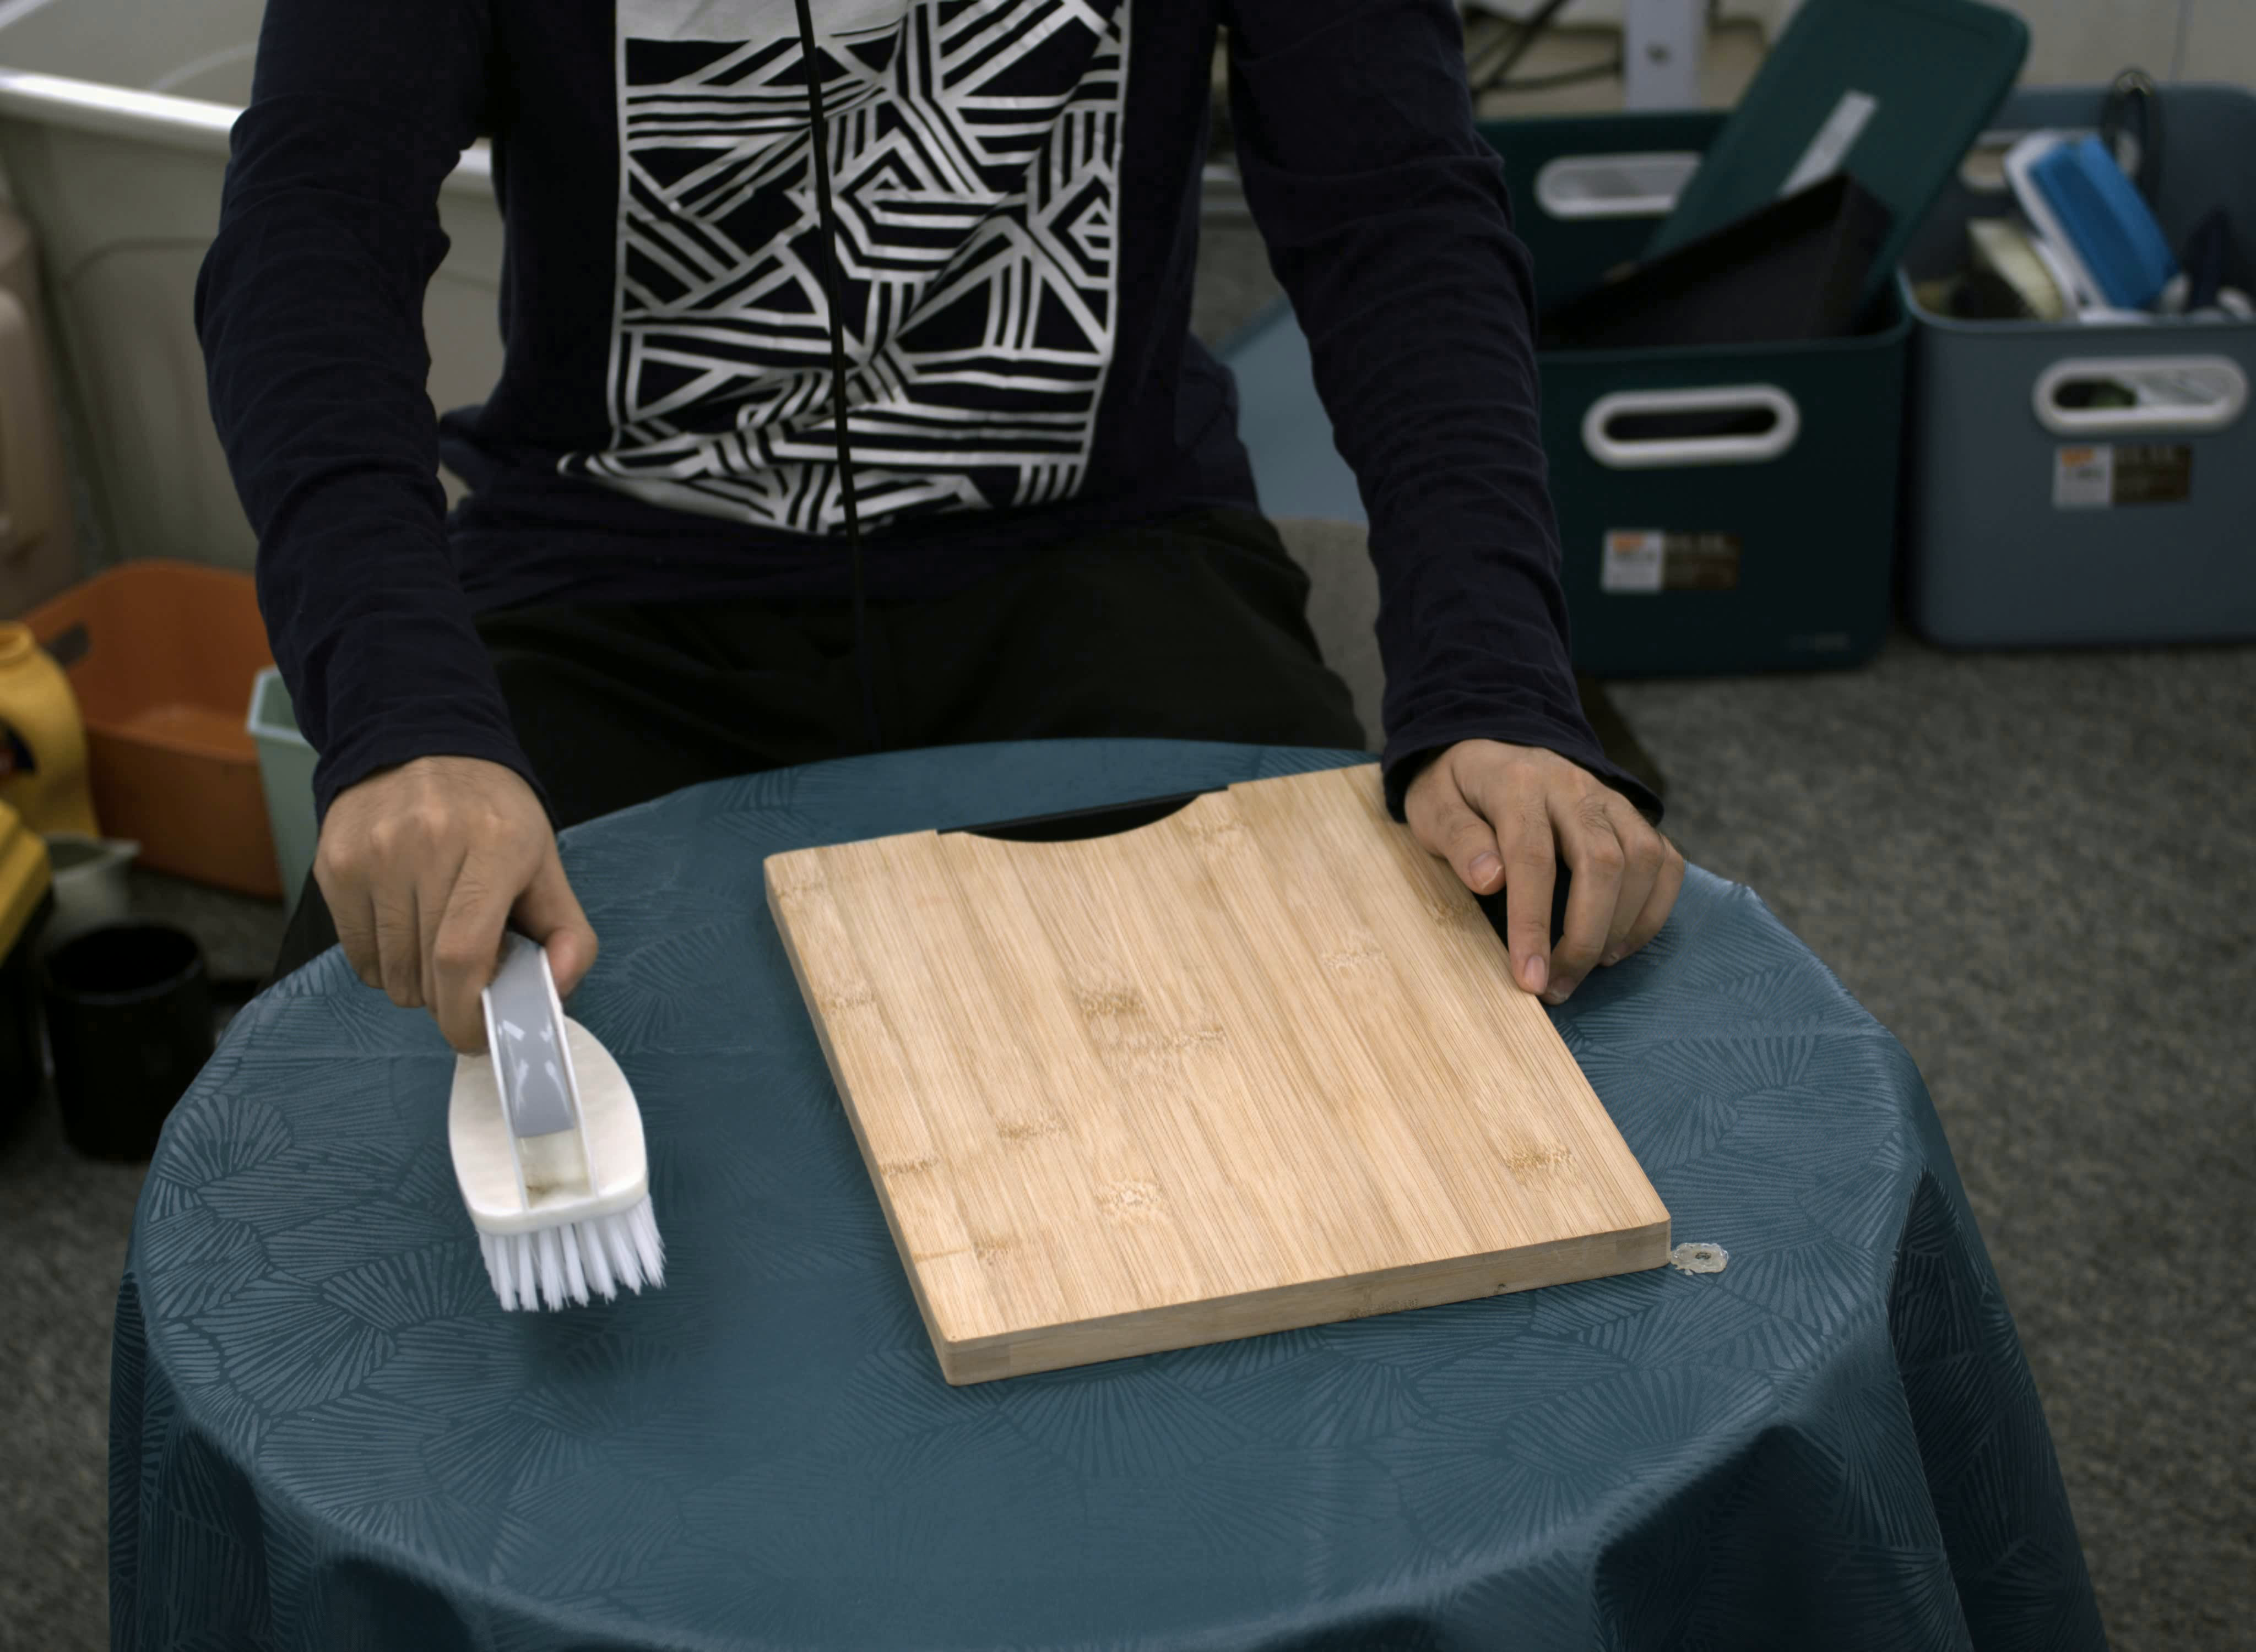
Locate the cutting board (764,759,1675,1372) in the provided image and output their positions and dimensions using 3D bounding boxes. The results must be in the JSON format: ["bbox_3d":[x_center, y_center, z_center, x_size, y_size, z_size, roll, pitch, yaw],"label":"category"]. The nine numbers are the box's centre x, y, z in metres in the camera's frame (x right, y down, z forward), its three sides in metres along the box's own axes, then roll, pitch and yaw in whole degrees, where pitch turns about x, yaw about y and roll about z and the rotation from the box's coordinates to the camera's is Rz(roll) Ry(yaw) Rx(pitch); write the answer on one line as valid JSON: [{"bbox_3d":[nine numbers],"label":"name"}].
[{"bbox_3d":[0.021,0.076,1.930,0.250,0.023,0.352,-8,27,-12],"label":"cutting board"}]

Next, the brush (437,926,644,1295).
[{"bbox_3d":[-0.196,0.078,1.812,0.061,0.093,0.177,-11,21,-7],"label":"brush"}]
